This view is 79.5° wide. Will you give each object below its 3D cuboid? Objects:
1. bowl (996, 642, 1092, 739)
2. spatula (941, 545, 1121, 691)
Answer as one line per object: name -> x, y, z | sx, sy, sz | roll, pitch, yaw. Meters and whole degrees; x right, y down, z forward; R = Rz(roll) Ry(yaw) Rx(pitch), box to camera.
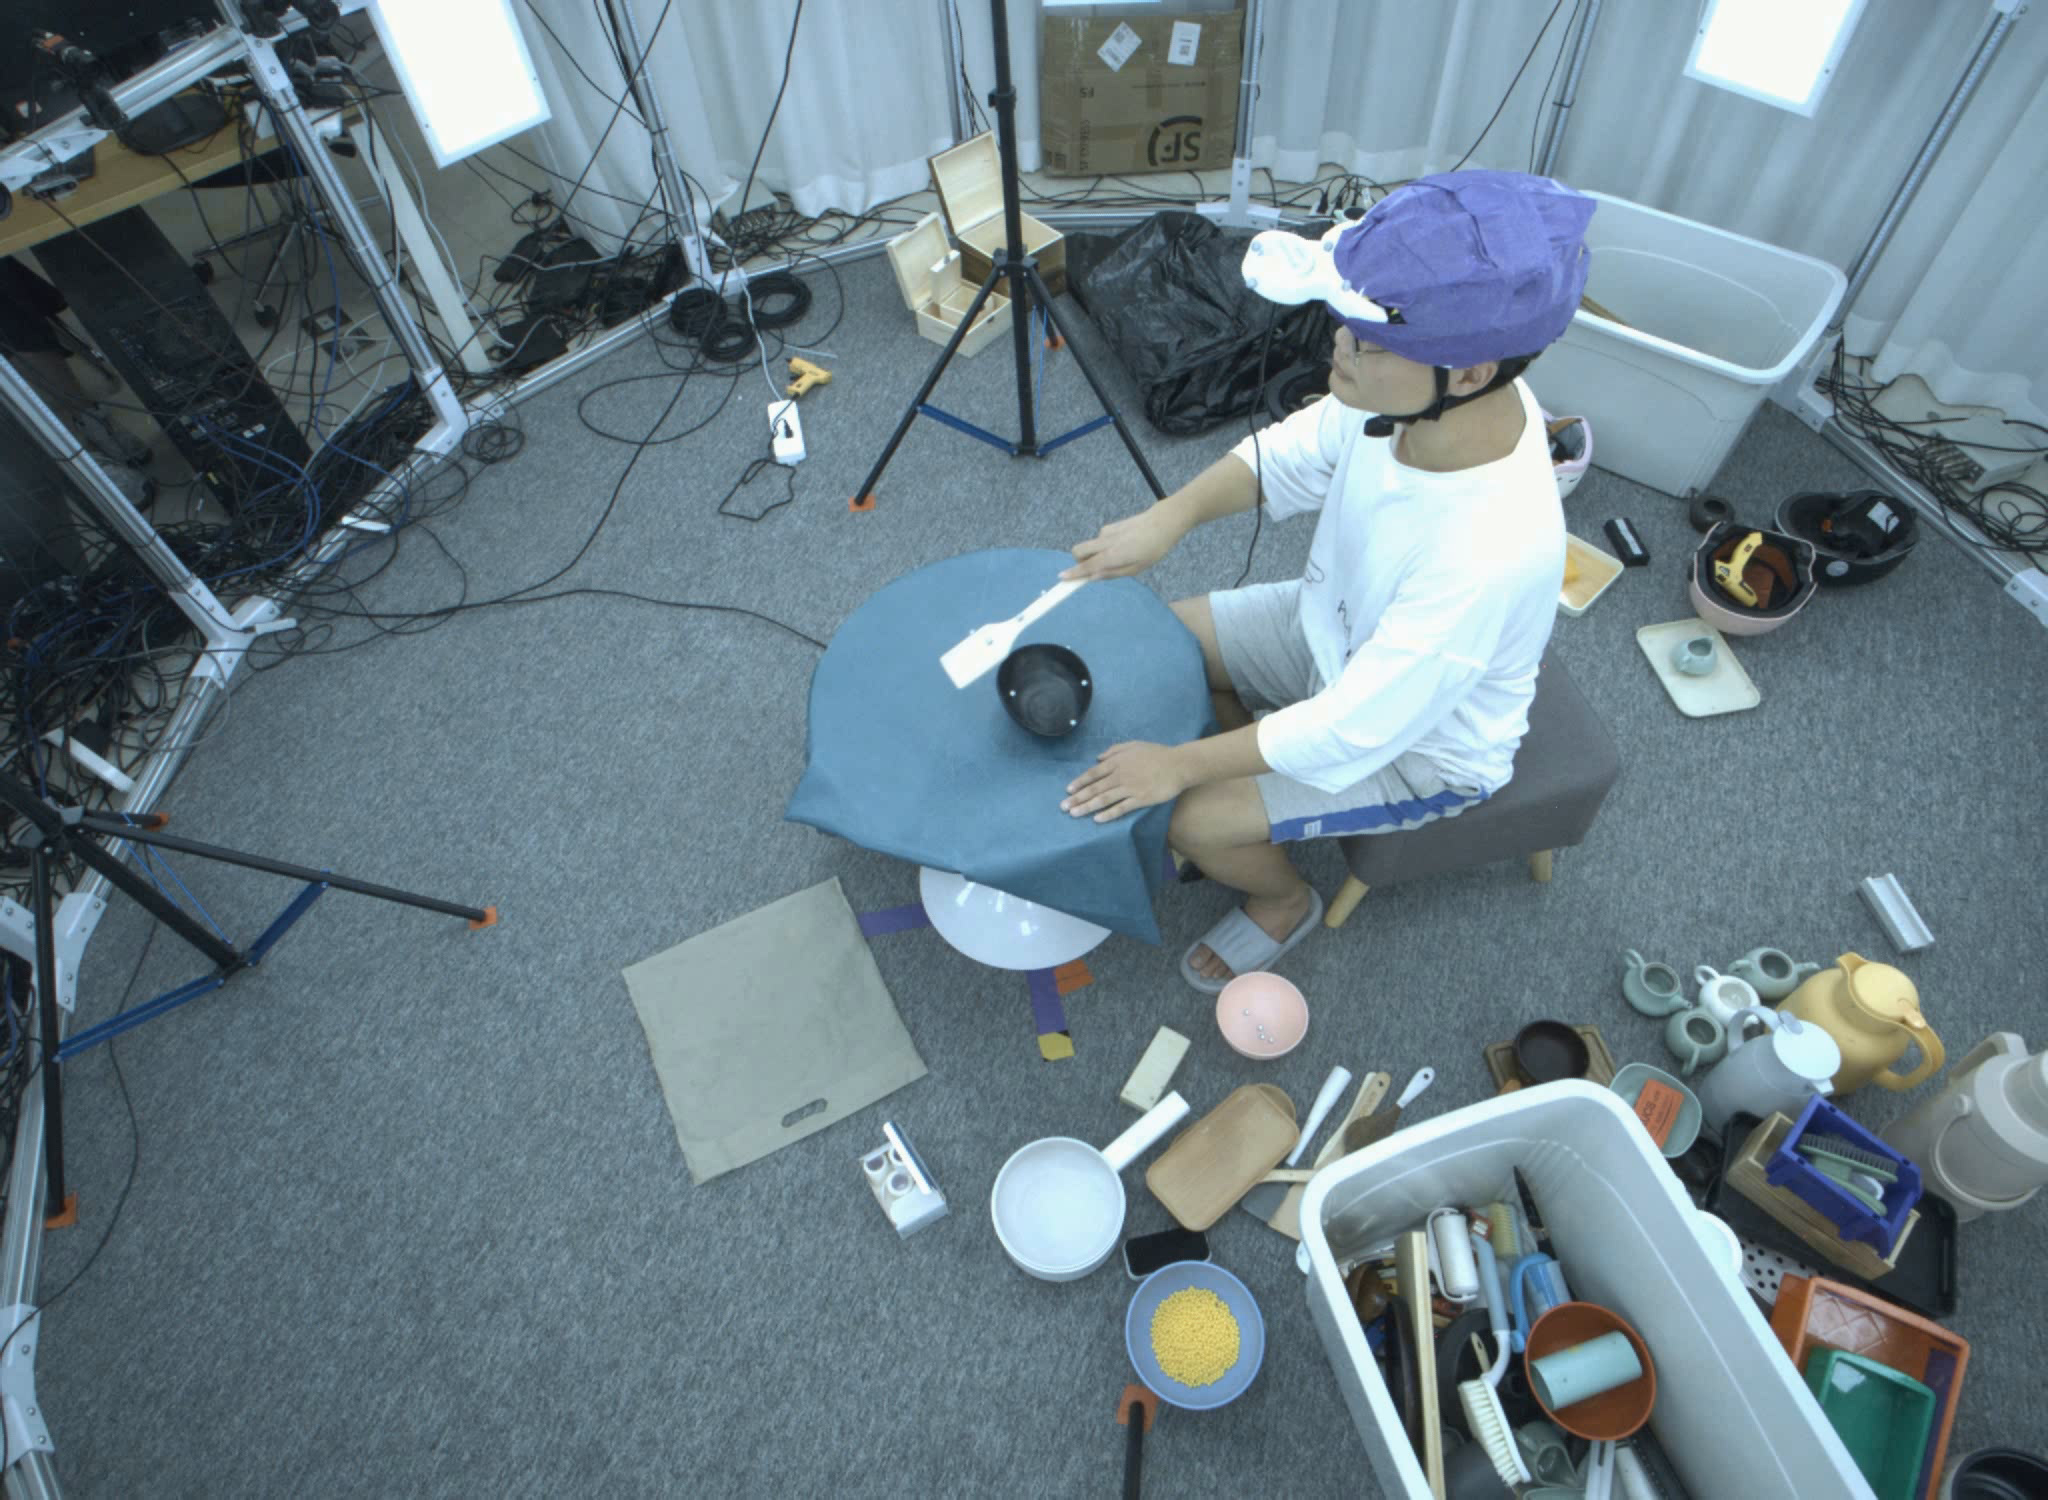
bowl -> 0.031, -0.079, 1.801 | 0.138, 0.067, 0.167 | -16, 57, -10
spatula -> 0.013, -0.190, 1.695 | 0.293, 0.011, 0.071 | -37, 55, 3
